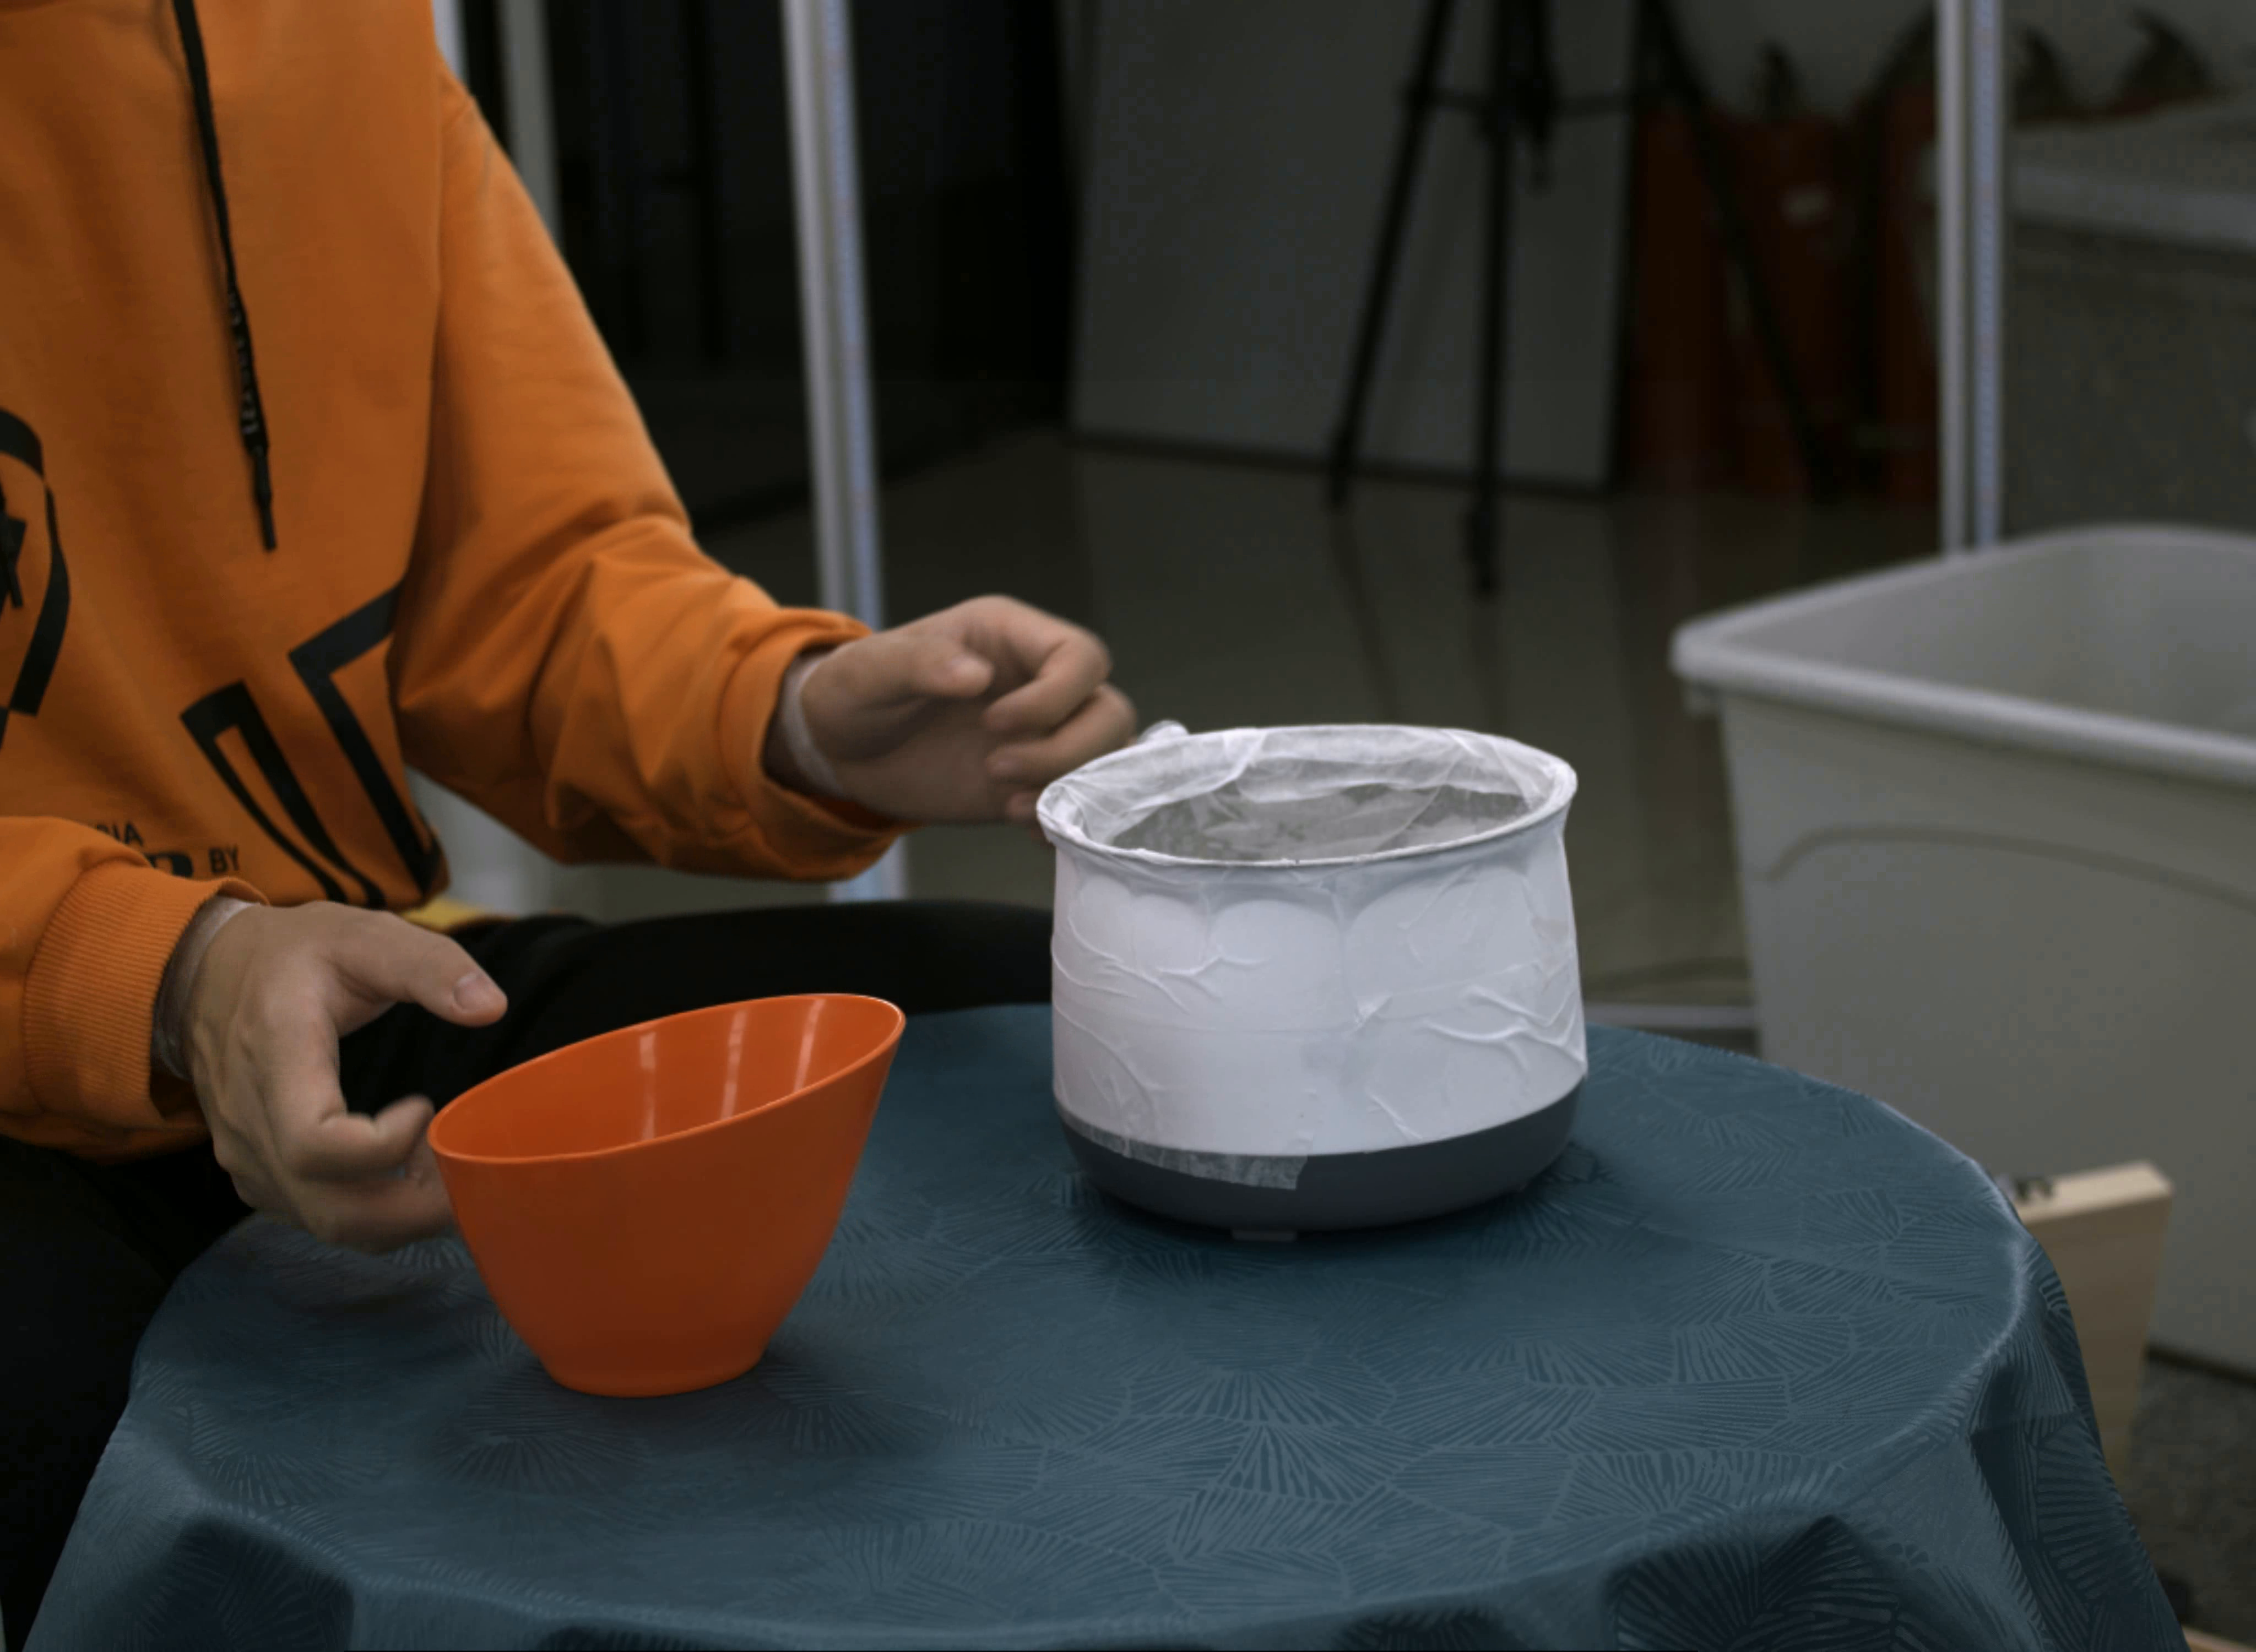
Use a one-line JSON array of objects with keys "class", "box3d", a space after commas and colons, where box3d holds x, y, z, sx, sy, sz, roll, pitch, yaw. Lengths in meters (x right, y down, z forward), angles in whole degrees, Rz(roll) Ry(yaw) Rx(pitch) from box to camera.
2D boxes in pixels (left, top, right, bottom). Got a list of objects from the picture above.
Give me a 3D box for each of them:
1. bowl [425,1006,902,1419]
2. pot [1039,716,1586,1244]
[{"class": "bowl", "box3d": [-0.135, 0.118, 1.625, 0.146, 0.106, 0.148, -6, 13, 0]}, {"class": "pot", "box3d": [0.048, 0.044, 1.781, 0.175, 0.138, 0.236, -10, 15, -26]}]
